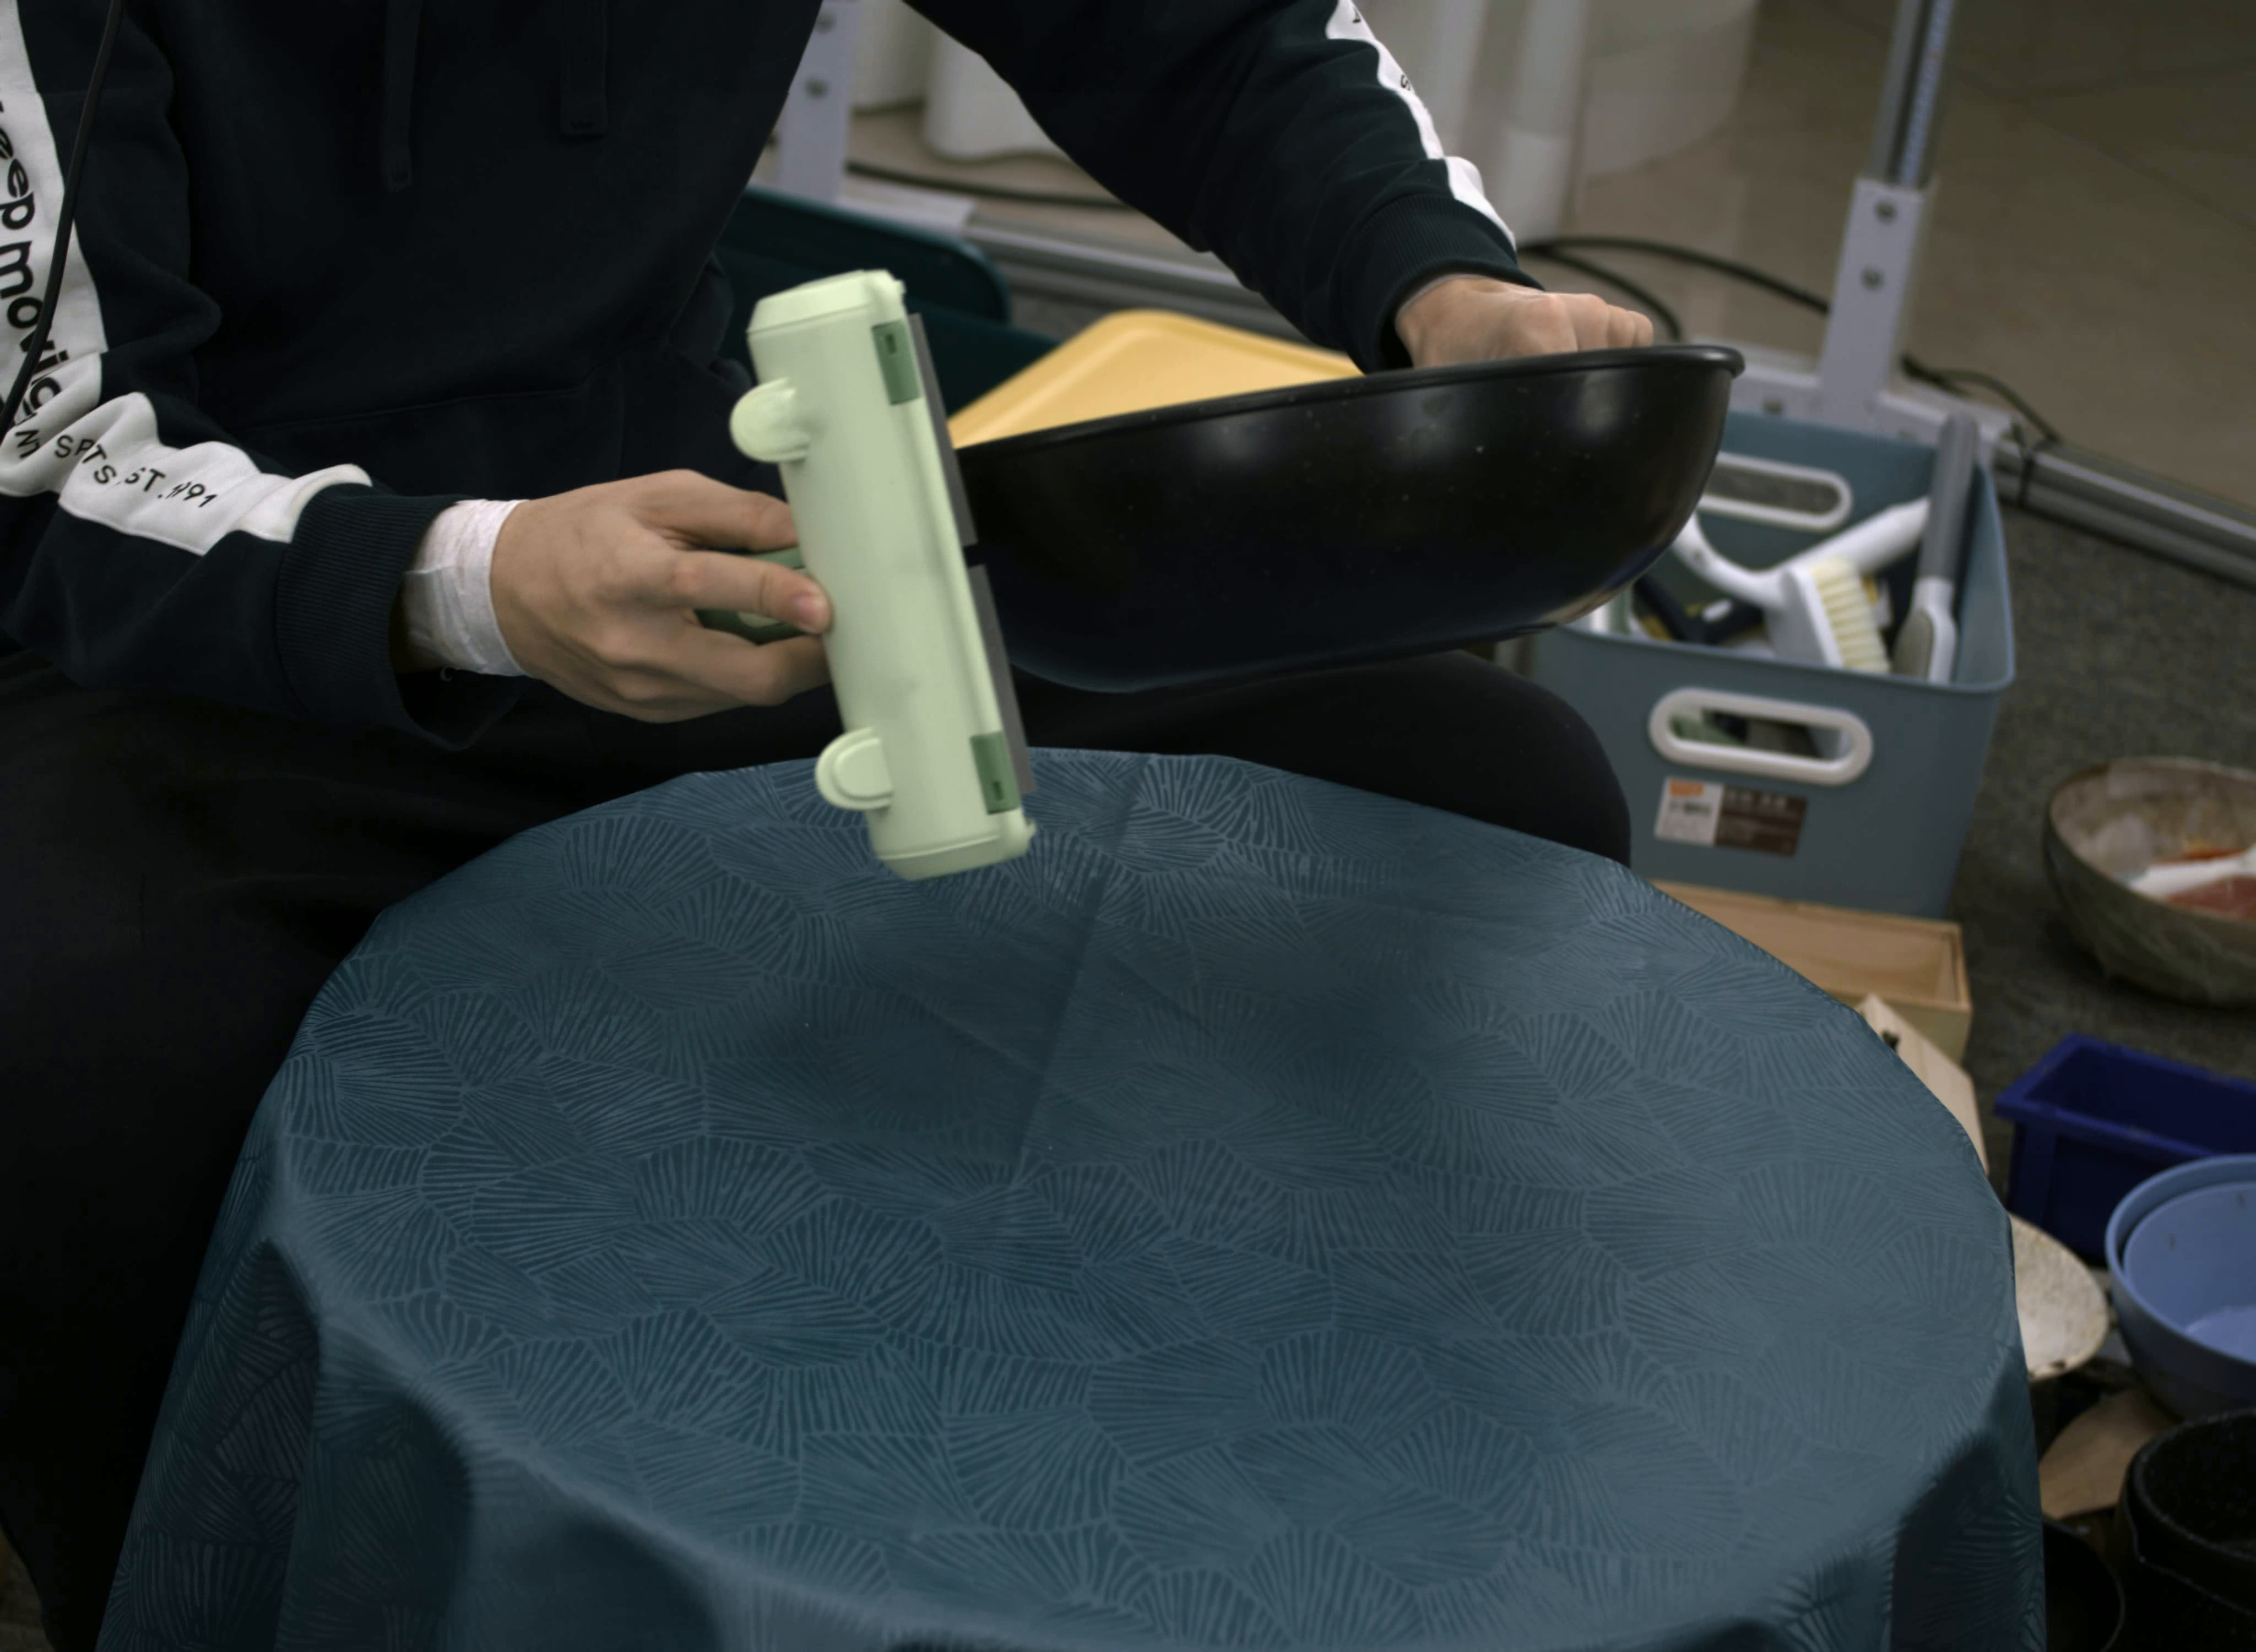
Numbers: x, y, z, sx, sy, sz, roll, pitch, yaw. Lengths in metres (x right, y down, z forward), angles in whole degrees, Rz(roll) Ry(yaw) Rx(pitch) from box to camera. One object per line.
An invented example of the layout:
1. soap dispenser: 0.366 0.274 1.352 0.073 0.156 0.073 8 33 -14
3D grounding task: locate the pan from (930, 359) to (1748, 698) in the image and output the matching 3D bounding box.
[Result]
1. pan: 0.099 -0.112 1.904 0.311 0.112 0.474 -7 0 27

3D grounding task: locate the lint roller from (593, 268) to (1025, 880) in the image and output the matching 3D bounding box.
1. lint roller: -0.127 -0.073 1.758 0.184 0.199 0.082 -9 7 37
